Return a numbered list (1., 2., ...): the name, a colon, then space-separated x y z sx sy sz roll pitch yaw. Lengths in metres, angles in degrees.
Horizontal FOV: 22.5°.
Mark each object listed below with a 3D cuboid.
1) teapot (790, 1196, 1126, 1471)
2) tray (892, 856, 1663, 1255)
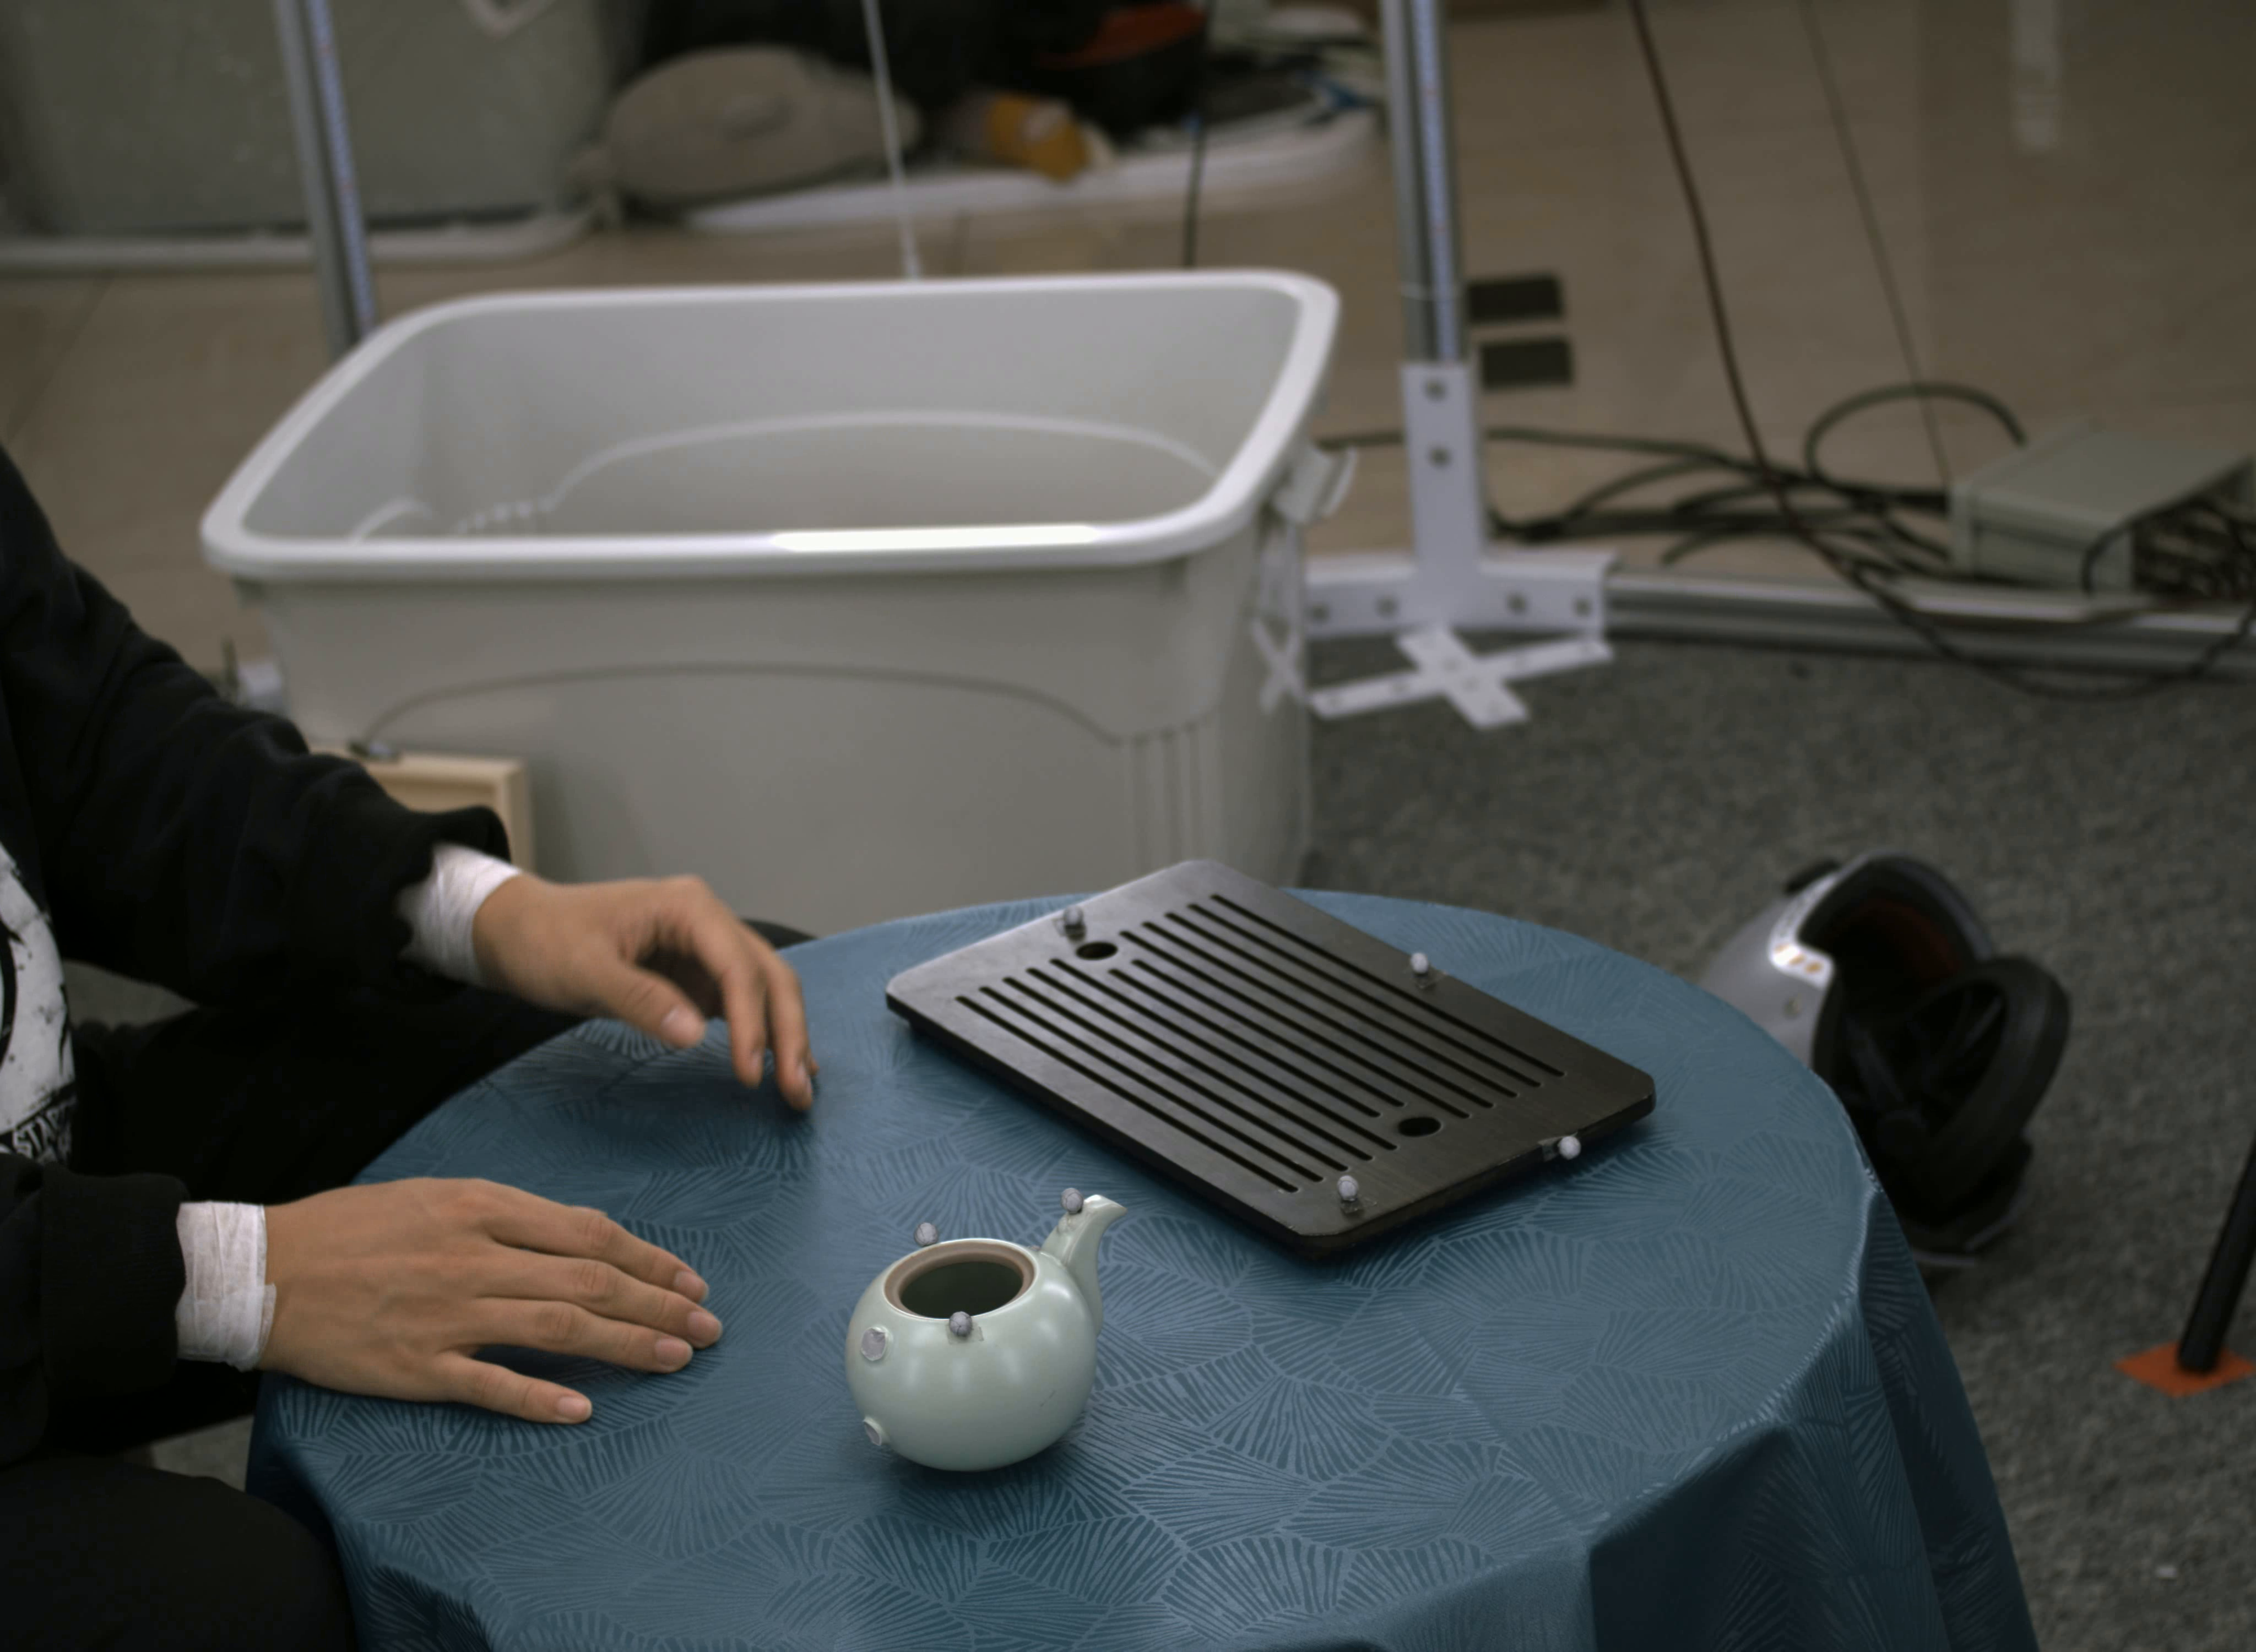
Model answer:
1. teapot: -0.056 0.183 1.981 0.143 0.076 0.087 -20 29 -31
2. tray: 0.054 0.087 2.227 0.169 0.019 0.303 -21 29 -28
